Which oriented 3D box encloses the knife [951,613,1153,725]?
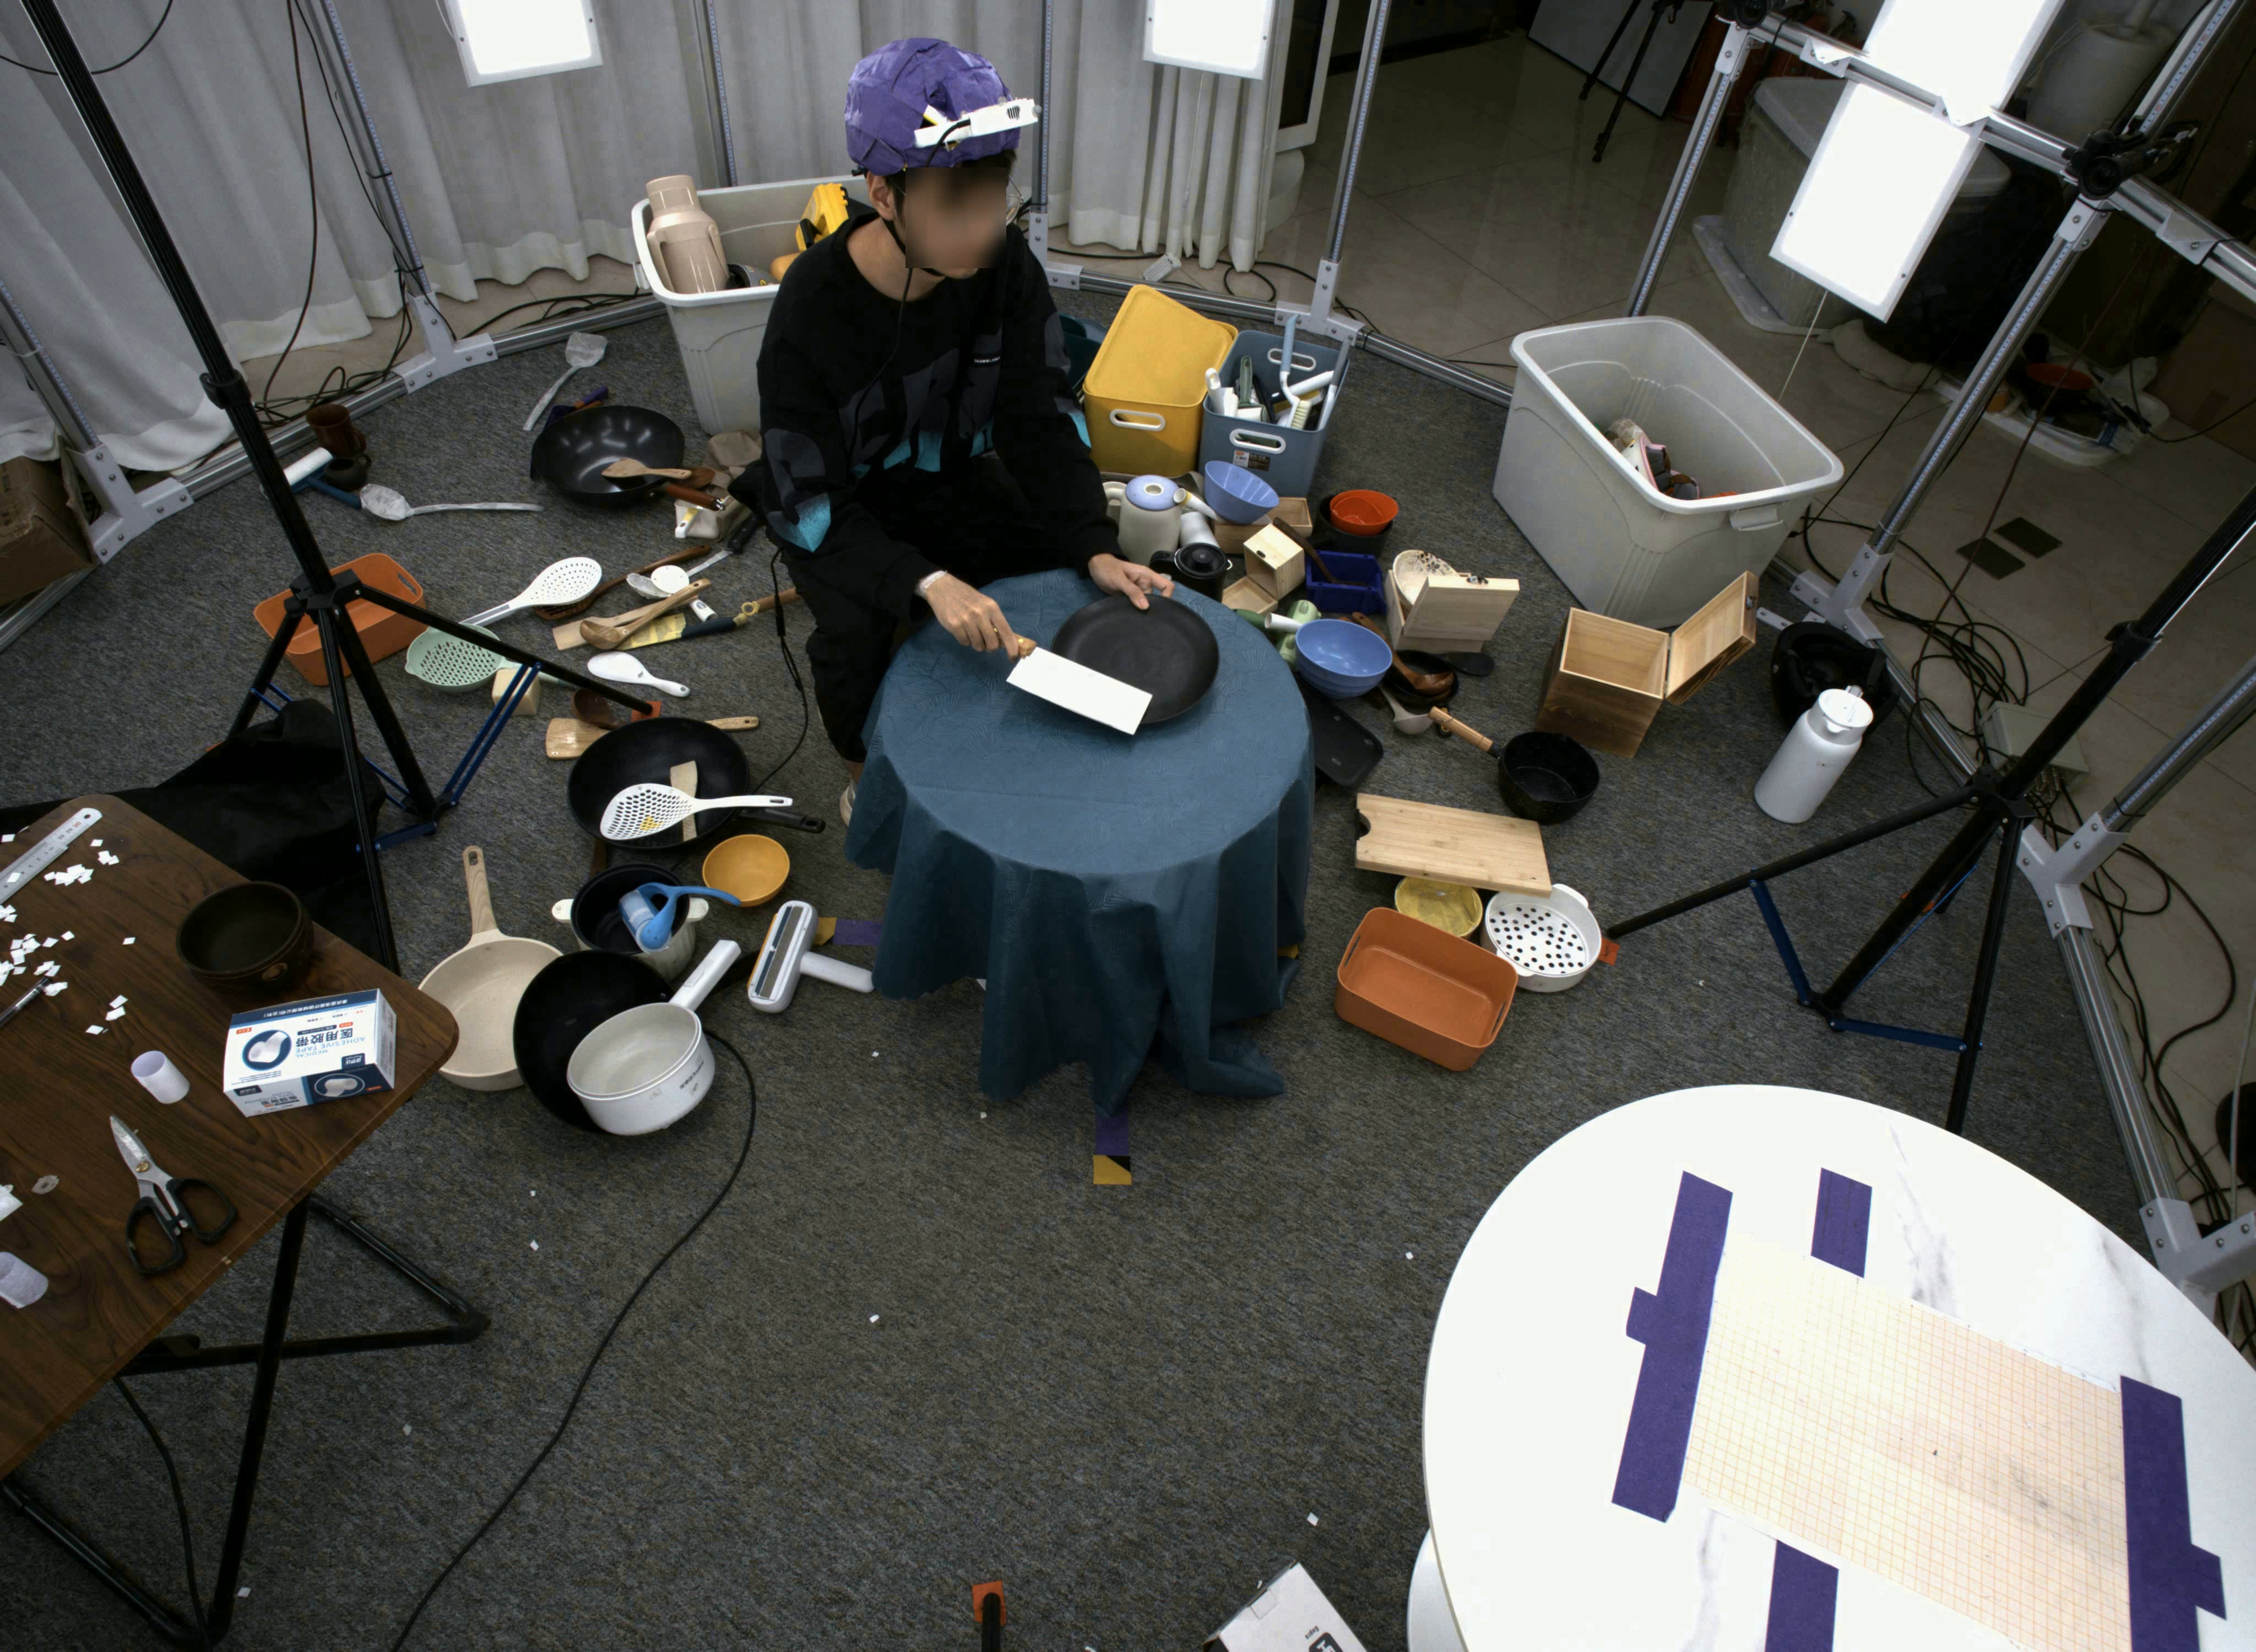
[{"bbox_3d":[-0.114,-0.215,1.791,0.306,0.020,0.095,23,48,4],"label":"knife"}]

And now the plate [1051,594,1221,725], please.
[{"bbox_3d":[0.012,-0.237,1.844,0.244,0.023,0.250,-1,55,2],"label":"plate"}]
